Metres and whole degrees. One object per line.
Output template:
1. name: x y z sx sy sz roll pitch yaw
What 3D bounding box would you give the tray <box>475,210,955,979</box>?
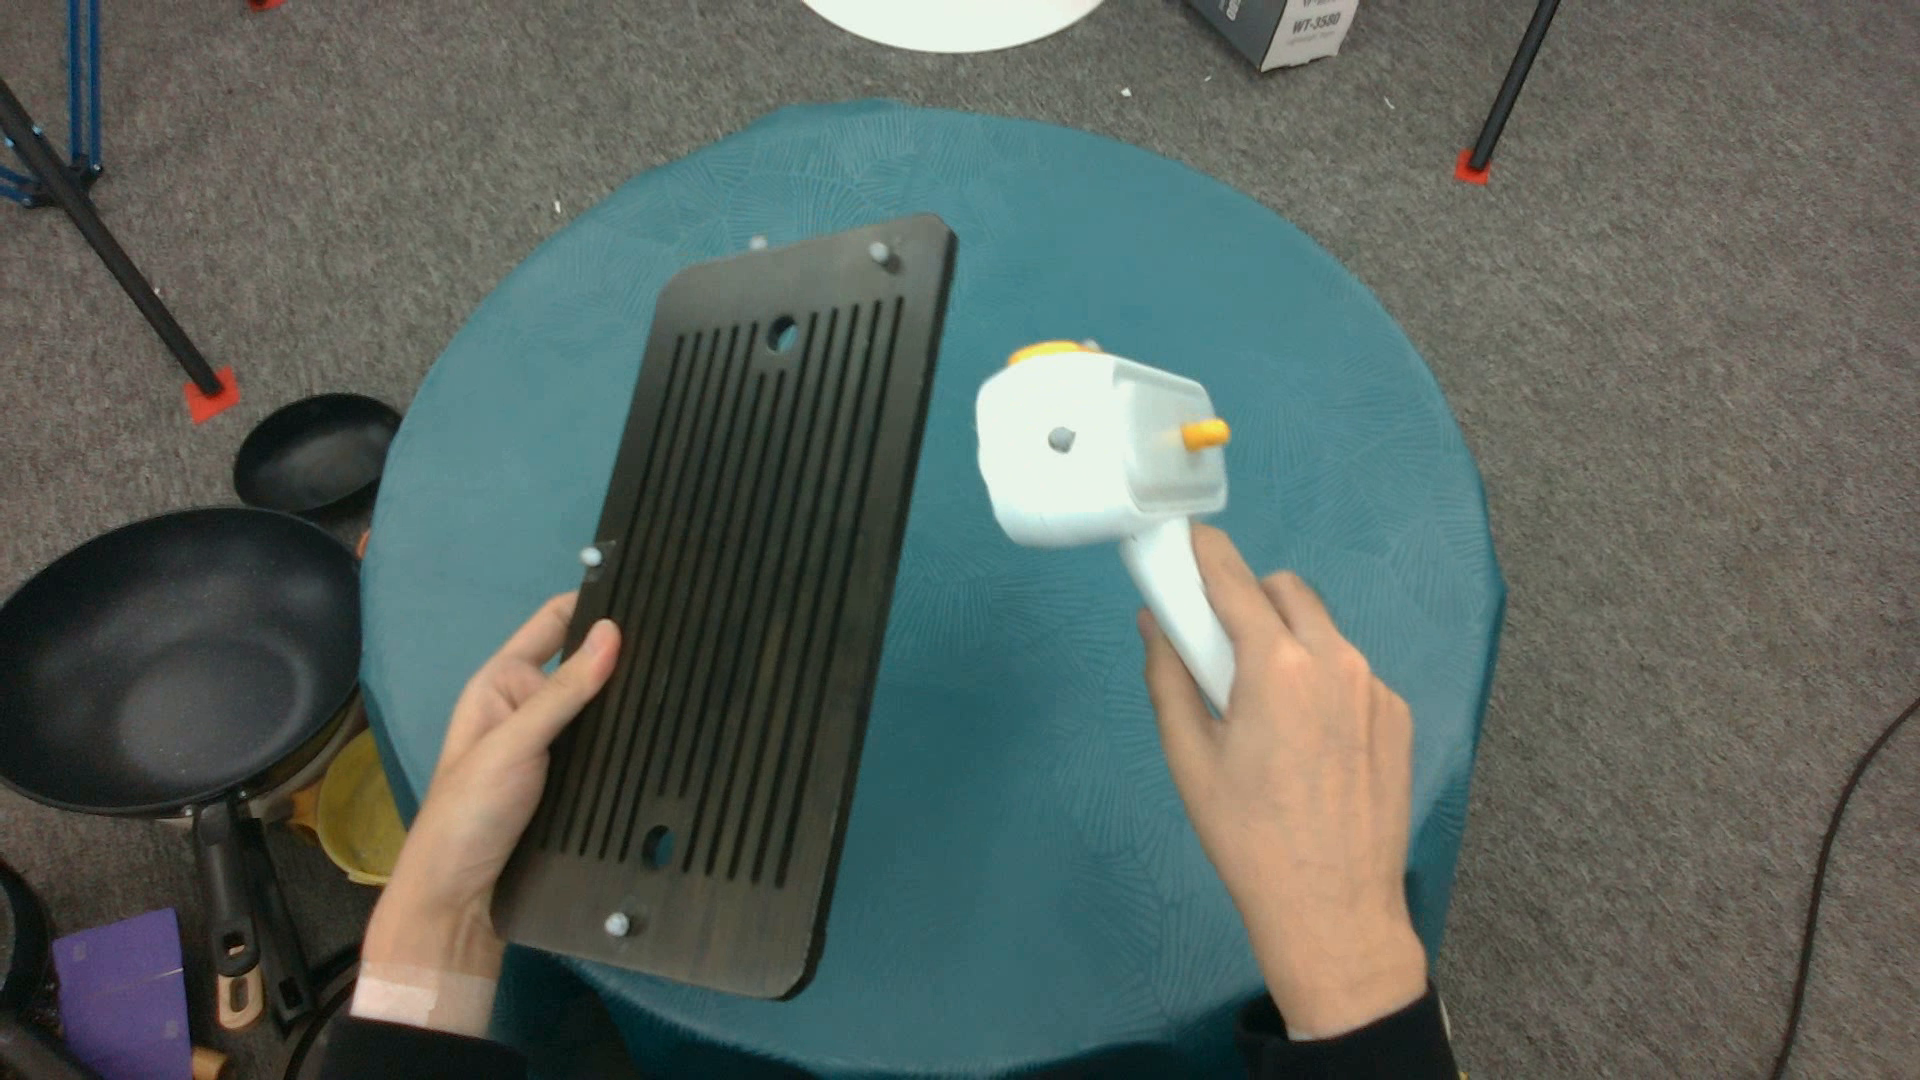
1. tray: -0.097 0.010 0.560 0.169 0.018 0.307 -1 68 34

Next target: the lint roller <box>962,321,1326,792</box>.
1. lint roller: 0.077 0.009 0.518 0.074 0.193 0.192 -20 90 16
